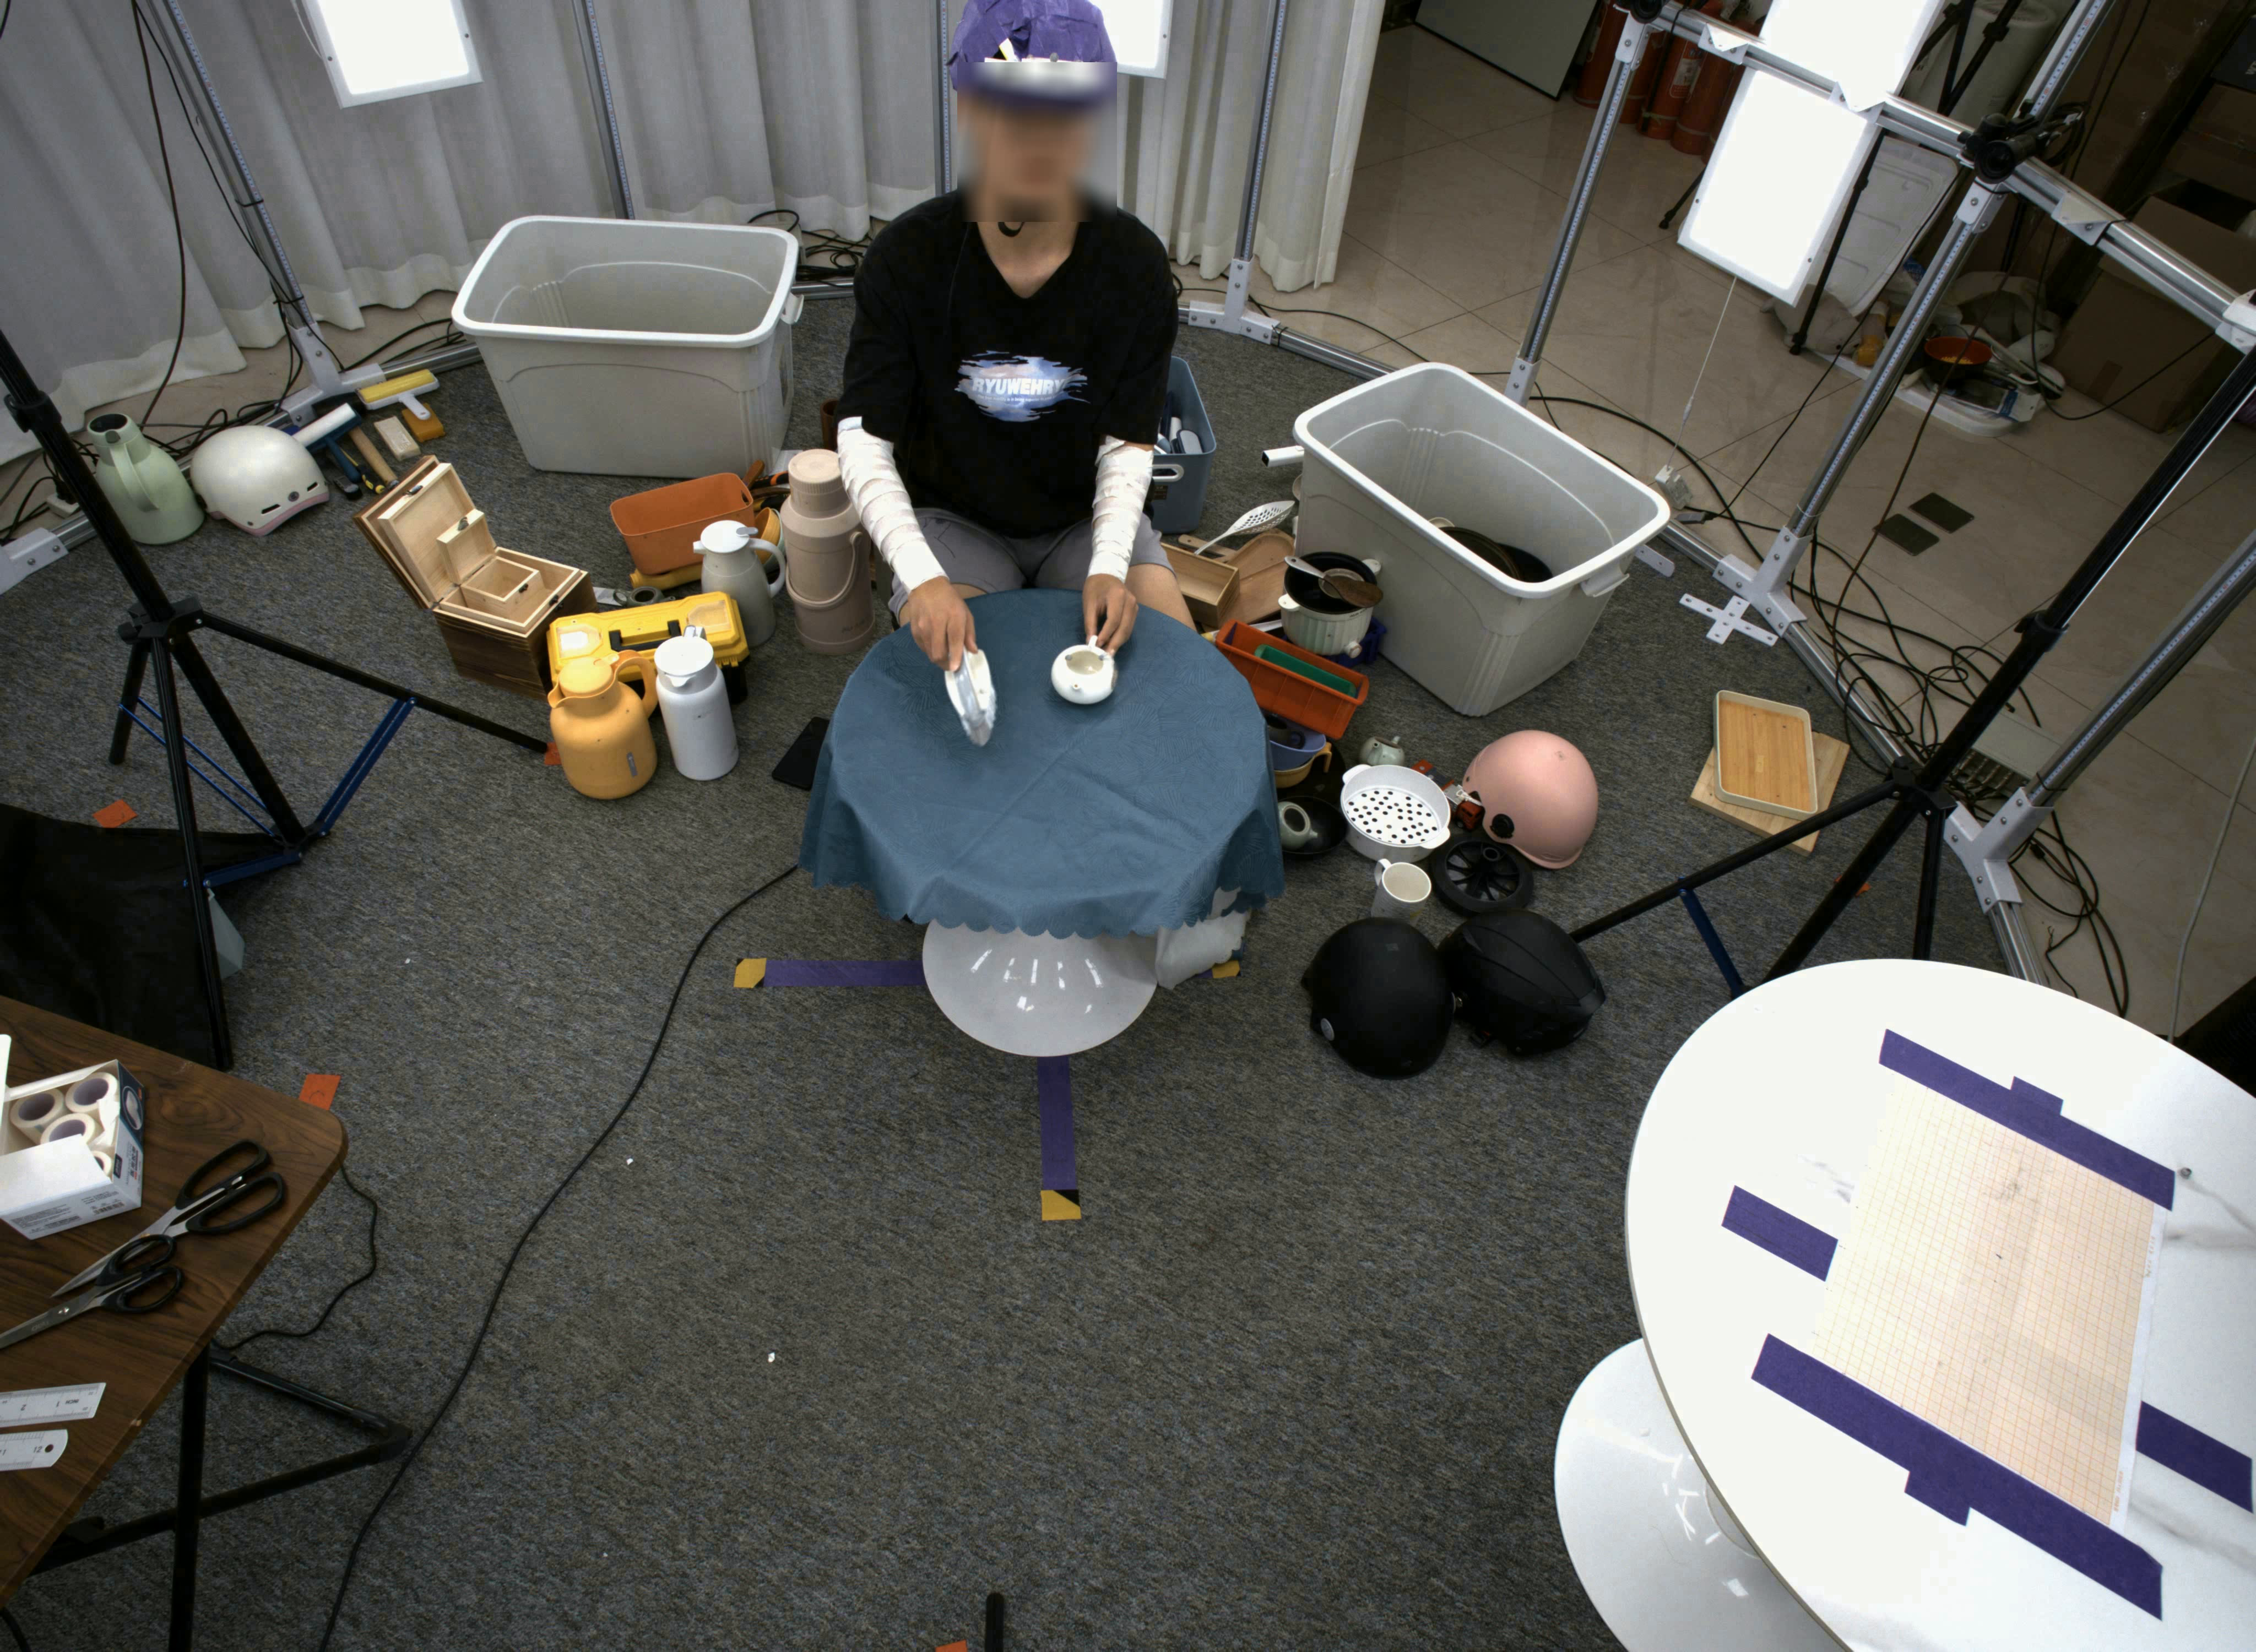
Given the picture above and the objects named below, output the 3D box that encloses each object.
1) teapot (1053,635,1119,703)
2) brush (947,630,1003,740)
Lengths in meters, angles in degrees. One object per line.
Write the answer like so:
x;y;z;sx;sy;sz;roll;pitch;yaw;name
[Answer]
-0.057;-0.224;1.827;0.093;0.055;0.130;9;49;8;teapot
-0.210;-0.199;1.740;0.061;0.092;0.180;-22;43;7;brush
